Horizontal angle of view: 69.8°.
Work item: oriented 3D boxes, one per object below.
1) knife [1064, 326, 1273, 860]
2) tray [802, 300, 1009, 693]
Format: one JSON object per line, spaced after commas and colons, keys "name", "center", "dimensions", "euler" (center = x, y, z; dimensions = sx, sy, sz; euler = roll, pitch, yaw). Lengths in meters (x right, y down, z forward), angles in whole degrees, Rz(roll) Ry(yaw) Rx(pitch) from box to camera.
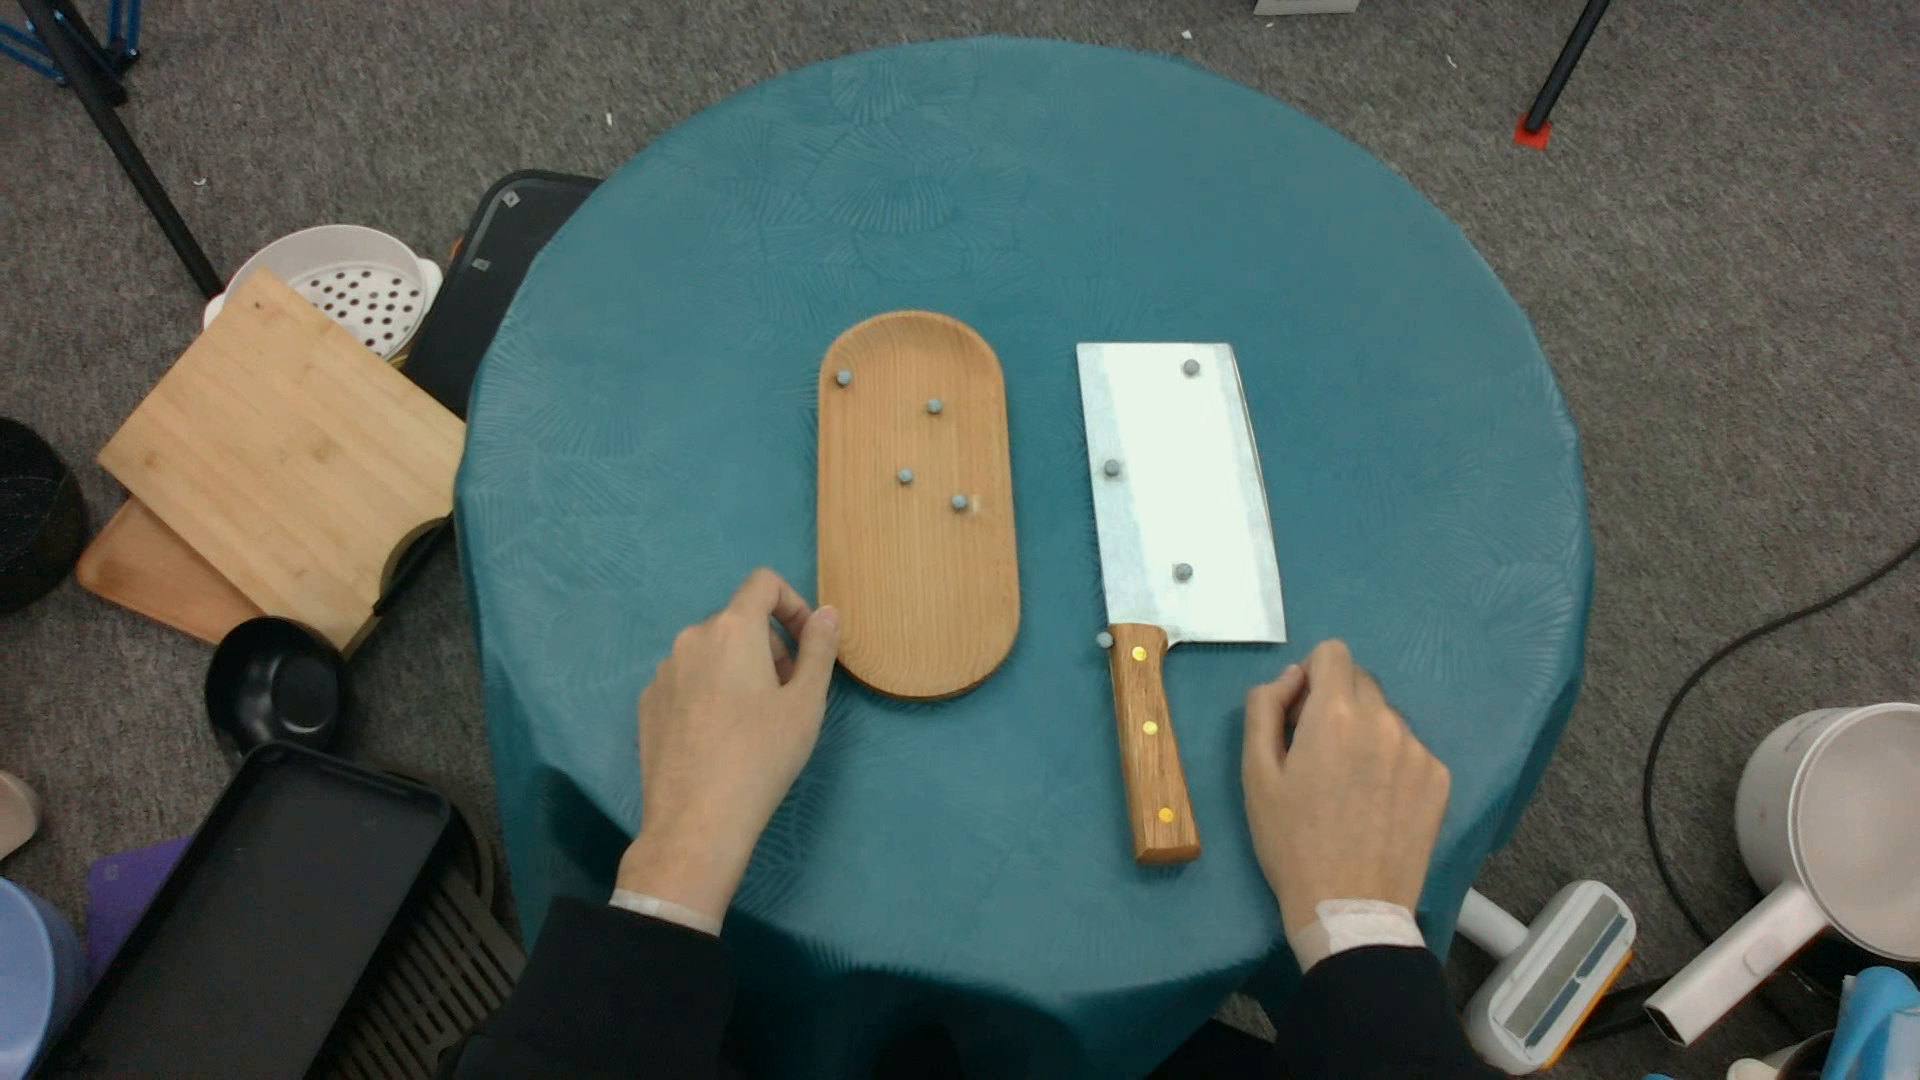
{"name": "knife", "center": [0.109, 0.011, 0.697], "dimensions": [0.093, 0.021, 0.307], "euler": [0, 59, -5]}
{"name": "tray", "center": [-0.029, -0.029, 0.709], "dimensions": [0.102, 0.020, 0.232], "euler": [-1, 62, -3]}
